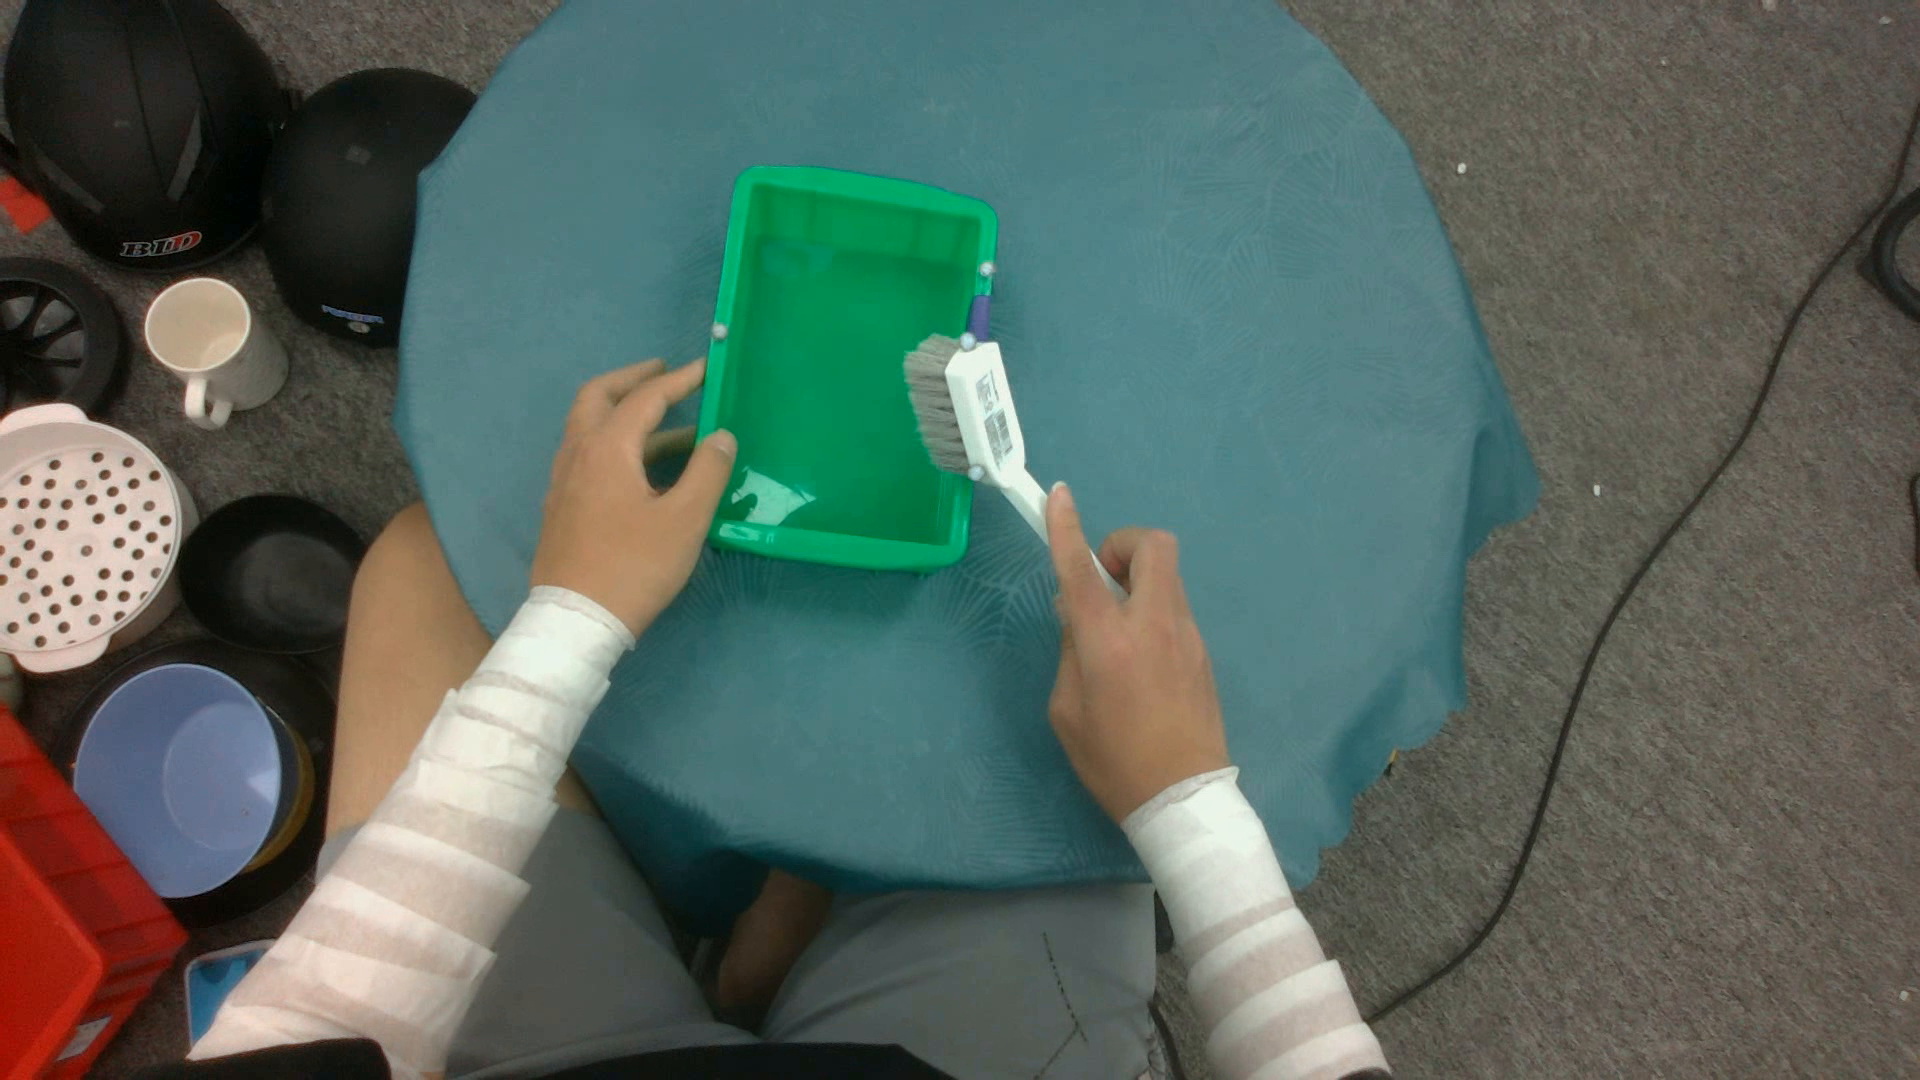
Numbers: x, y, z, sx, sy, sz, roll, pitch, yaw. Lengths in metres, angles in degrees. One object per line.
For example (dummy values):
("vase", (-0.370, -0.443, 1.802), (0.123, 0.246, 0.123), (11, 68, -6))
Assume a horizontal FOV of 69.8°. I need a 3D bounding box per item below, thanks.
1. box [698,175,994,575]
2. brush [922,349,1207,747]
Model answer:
("box", (-0.059, -0.082, 0.733), (0.139, 0.065, 0.211), (6, 74, -8))
("brush", (0.052, 0.010, 0.697), (0.243, 0.050, 0.034), (59, 38, -17))
